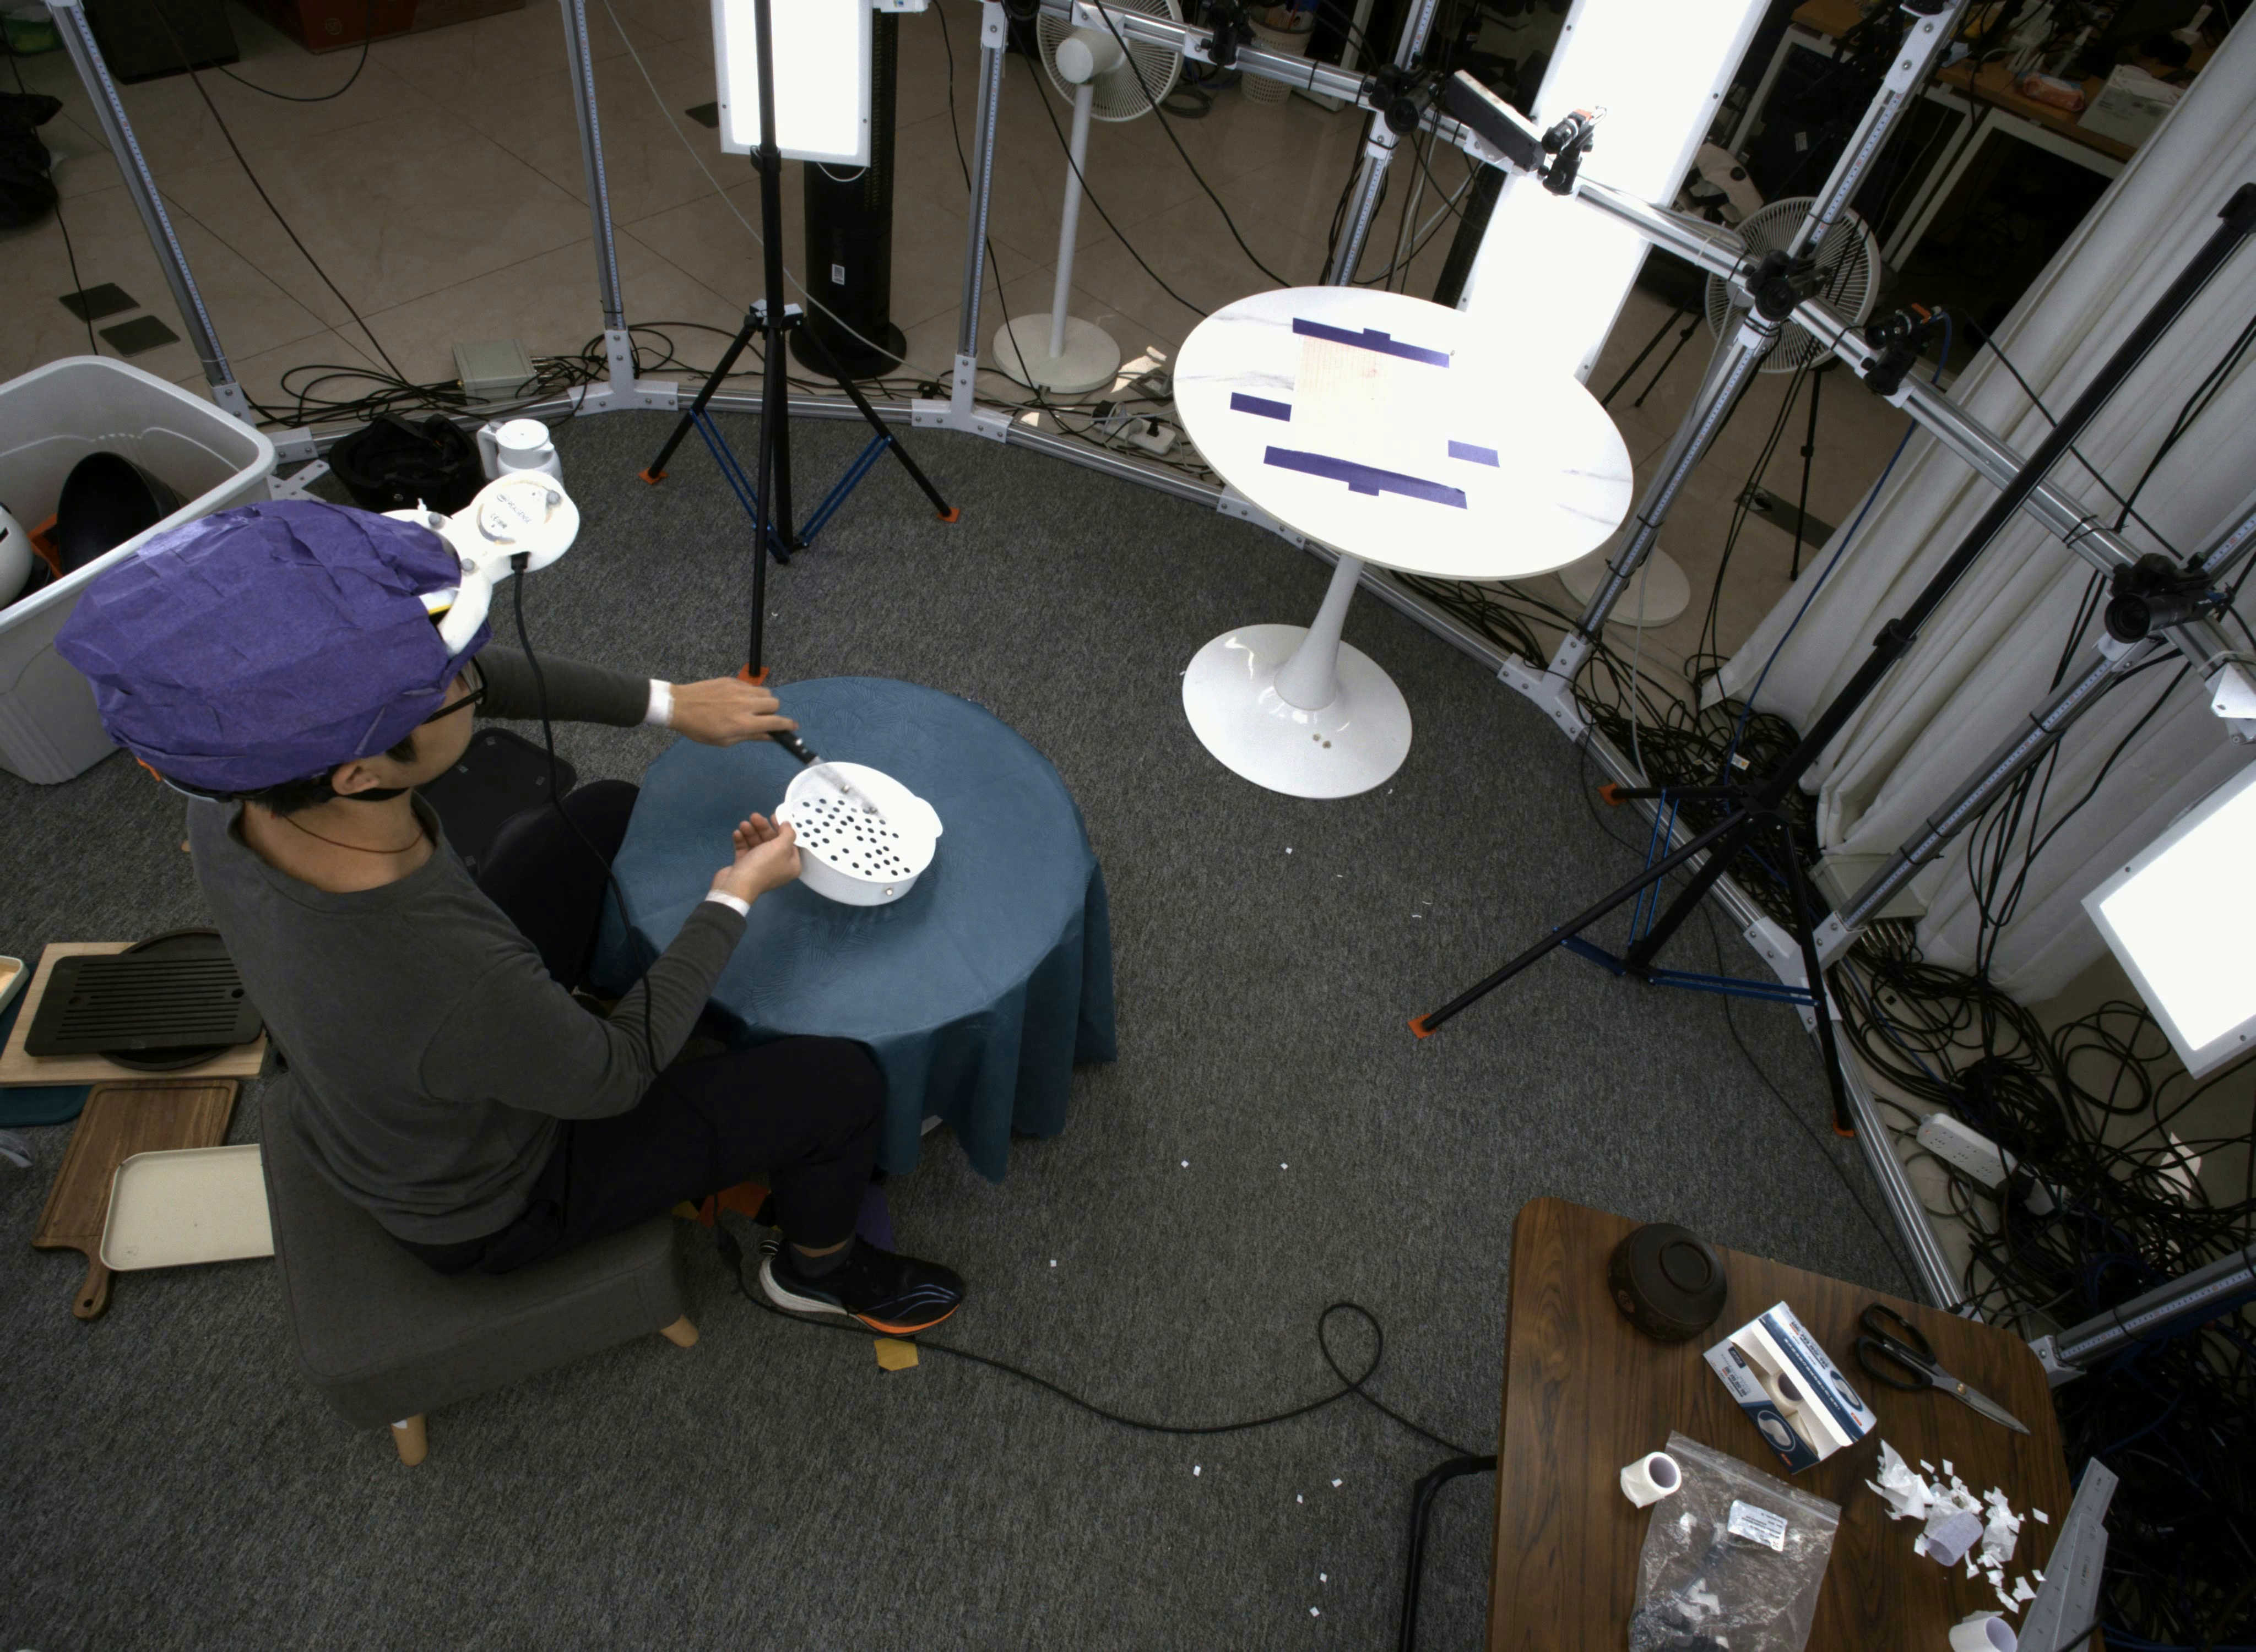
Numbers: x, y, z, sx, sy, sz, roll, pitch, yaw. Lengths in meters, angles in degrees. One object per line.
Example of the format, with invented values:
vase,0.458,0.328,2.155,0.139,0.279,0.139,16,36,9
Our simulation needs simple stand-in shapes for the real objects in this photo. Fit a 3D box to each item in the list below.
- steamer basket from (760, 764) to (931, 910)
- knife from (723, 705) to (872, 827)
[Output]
steamer basket,-0.366,0.013,1.666,0.234,0.070,0.197,-7,54,-43
knife,-0.423,-0.073,1.652,0.239,0.016,0.024,39,39,-7
